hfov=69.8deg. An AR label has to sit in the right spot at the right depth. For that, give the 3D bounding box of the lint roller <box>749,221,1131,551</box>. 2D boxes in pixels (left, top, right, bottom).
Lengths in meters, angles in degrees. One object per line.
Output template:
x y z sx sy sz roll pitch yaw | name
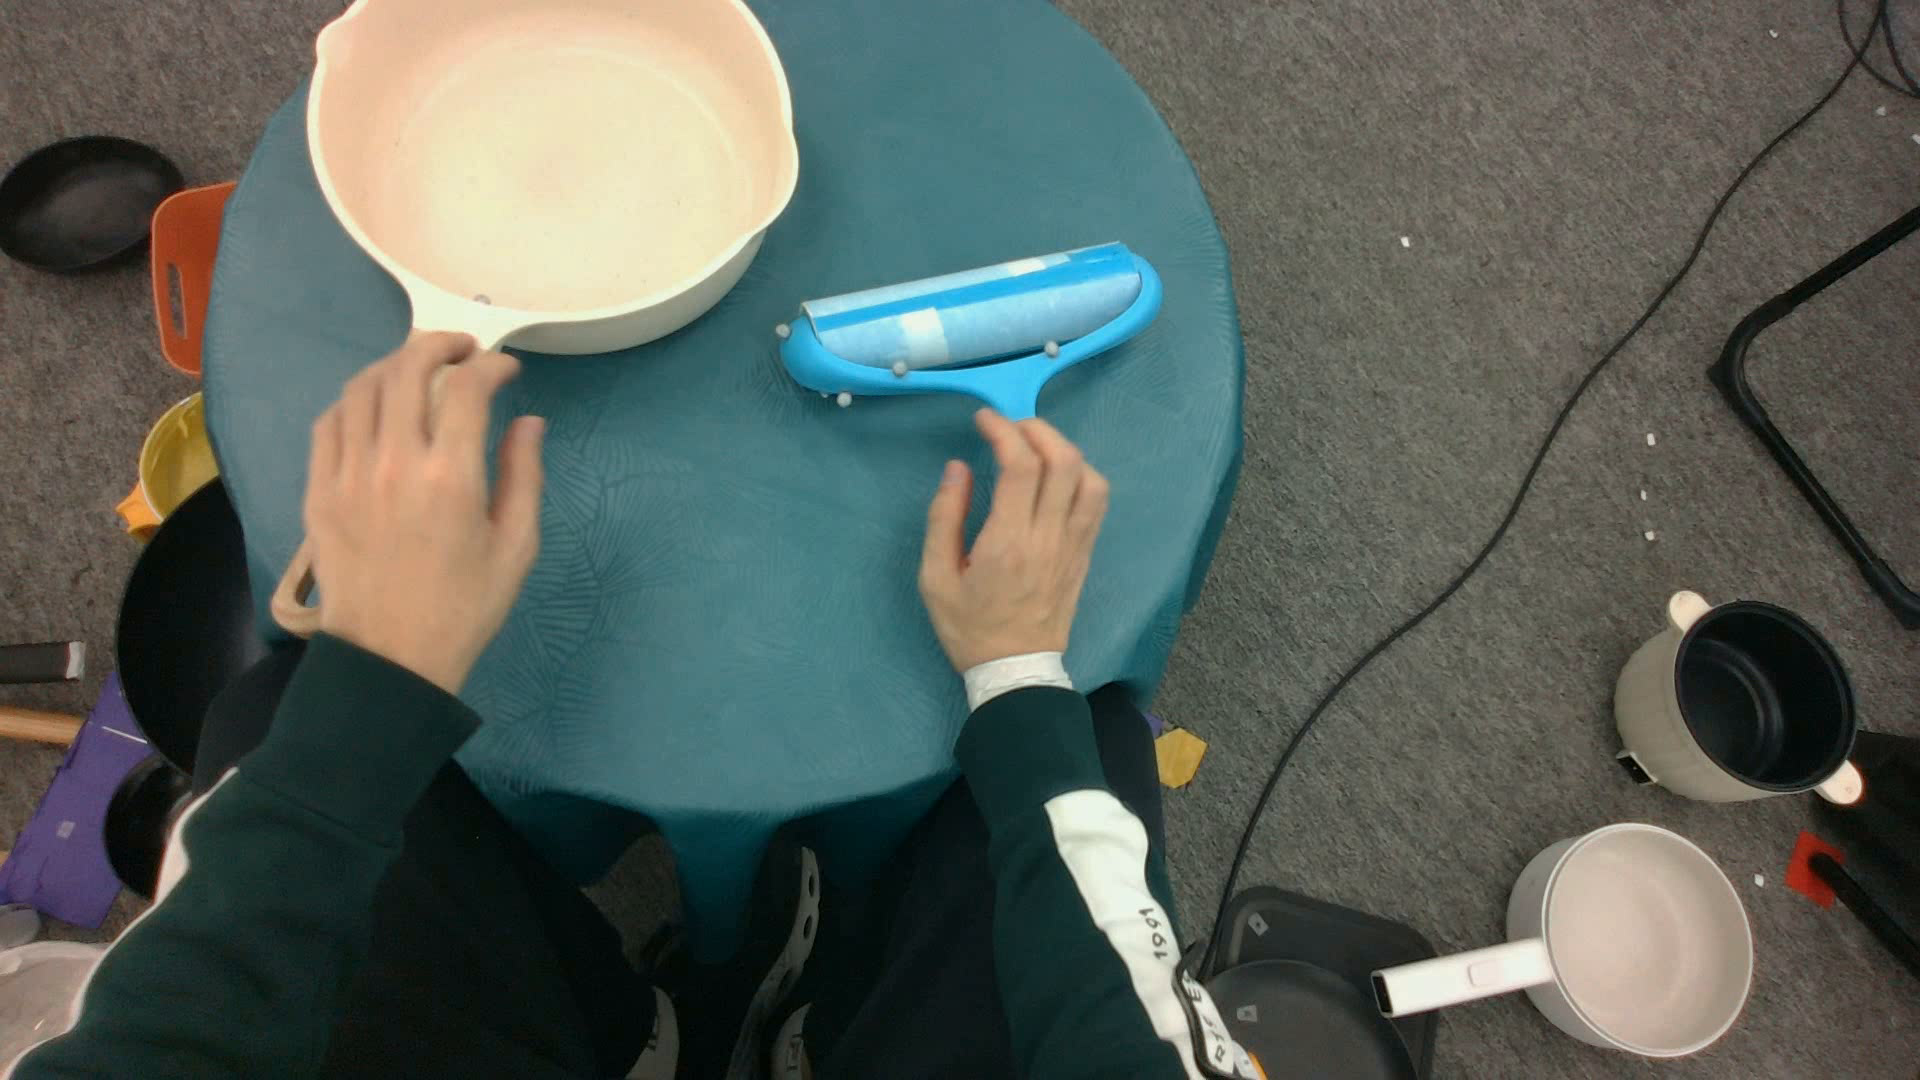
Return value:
0.011 -0.086 0.785 0.229 0.067 0.180 -17 75 -15 | lint roller

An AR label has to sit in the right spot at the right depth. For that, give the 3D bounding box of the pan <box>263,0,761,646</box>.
-0.263 -0.142 0.735 0.263 0.101 0.436 16 70 -5 | pan
